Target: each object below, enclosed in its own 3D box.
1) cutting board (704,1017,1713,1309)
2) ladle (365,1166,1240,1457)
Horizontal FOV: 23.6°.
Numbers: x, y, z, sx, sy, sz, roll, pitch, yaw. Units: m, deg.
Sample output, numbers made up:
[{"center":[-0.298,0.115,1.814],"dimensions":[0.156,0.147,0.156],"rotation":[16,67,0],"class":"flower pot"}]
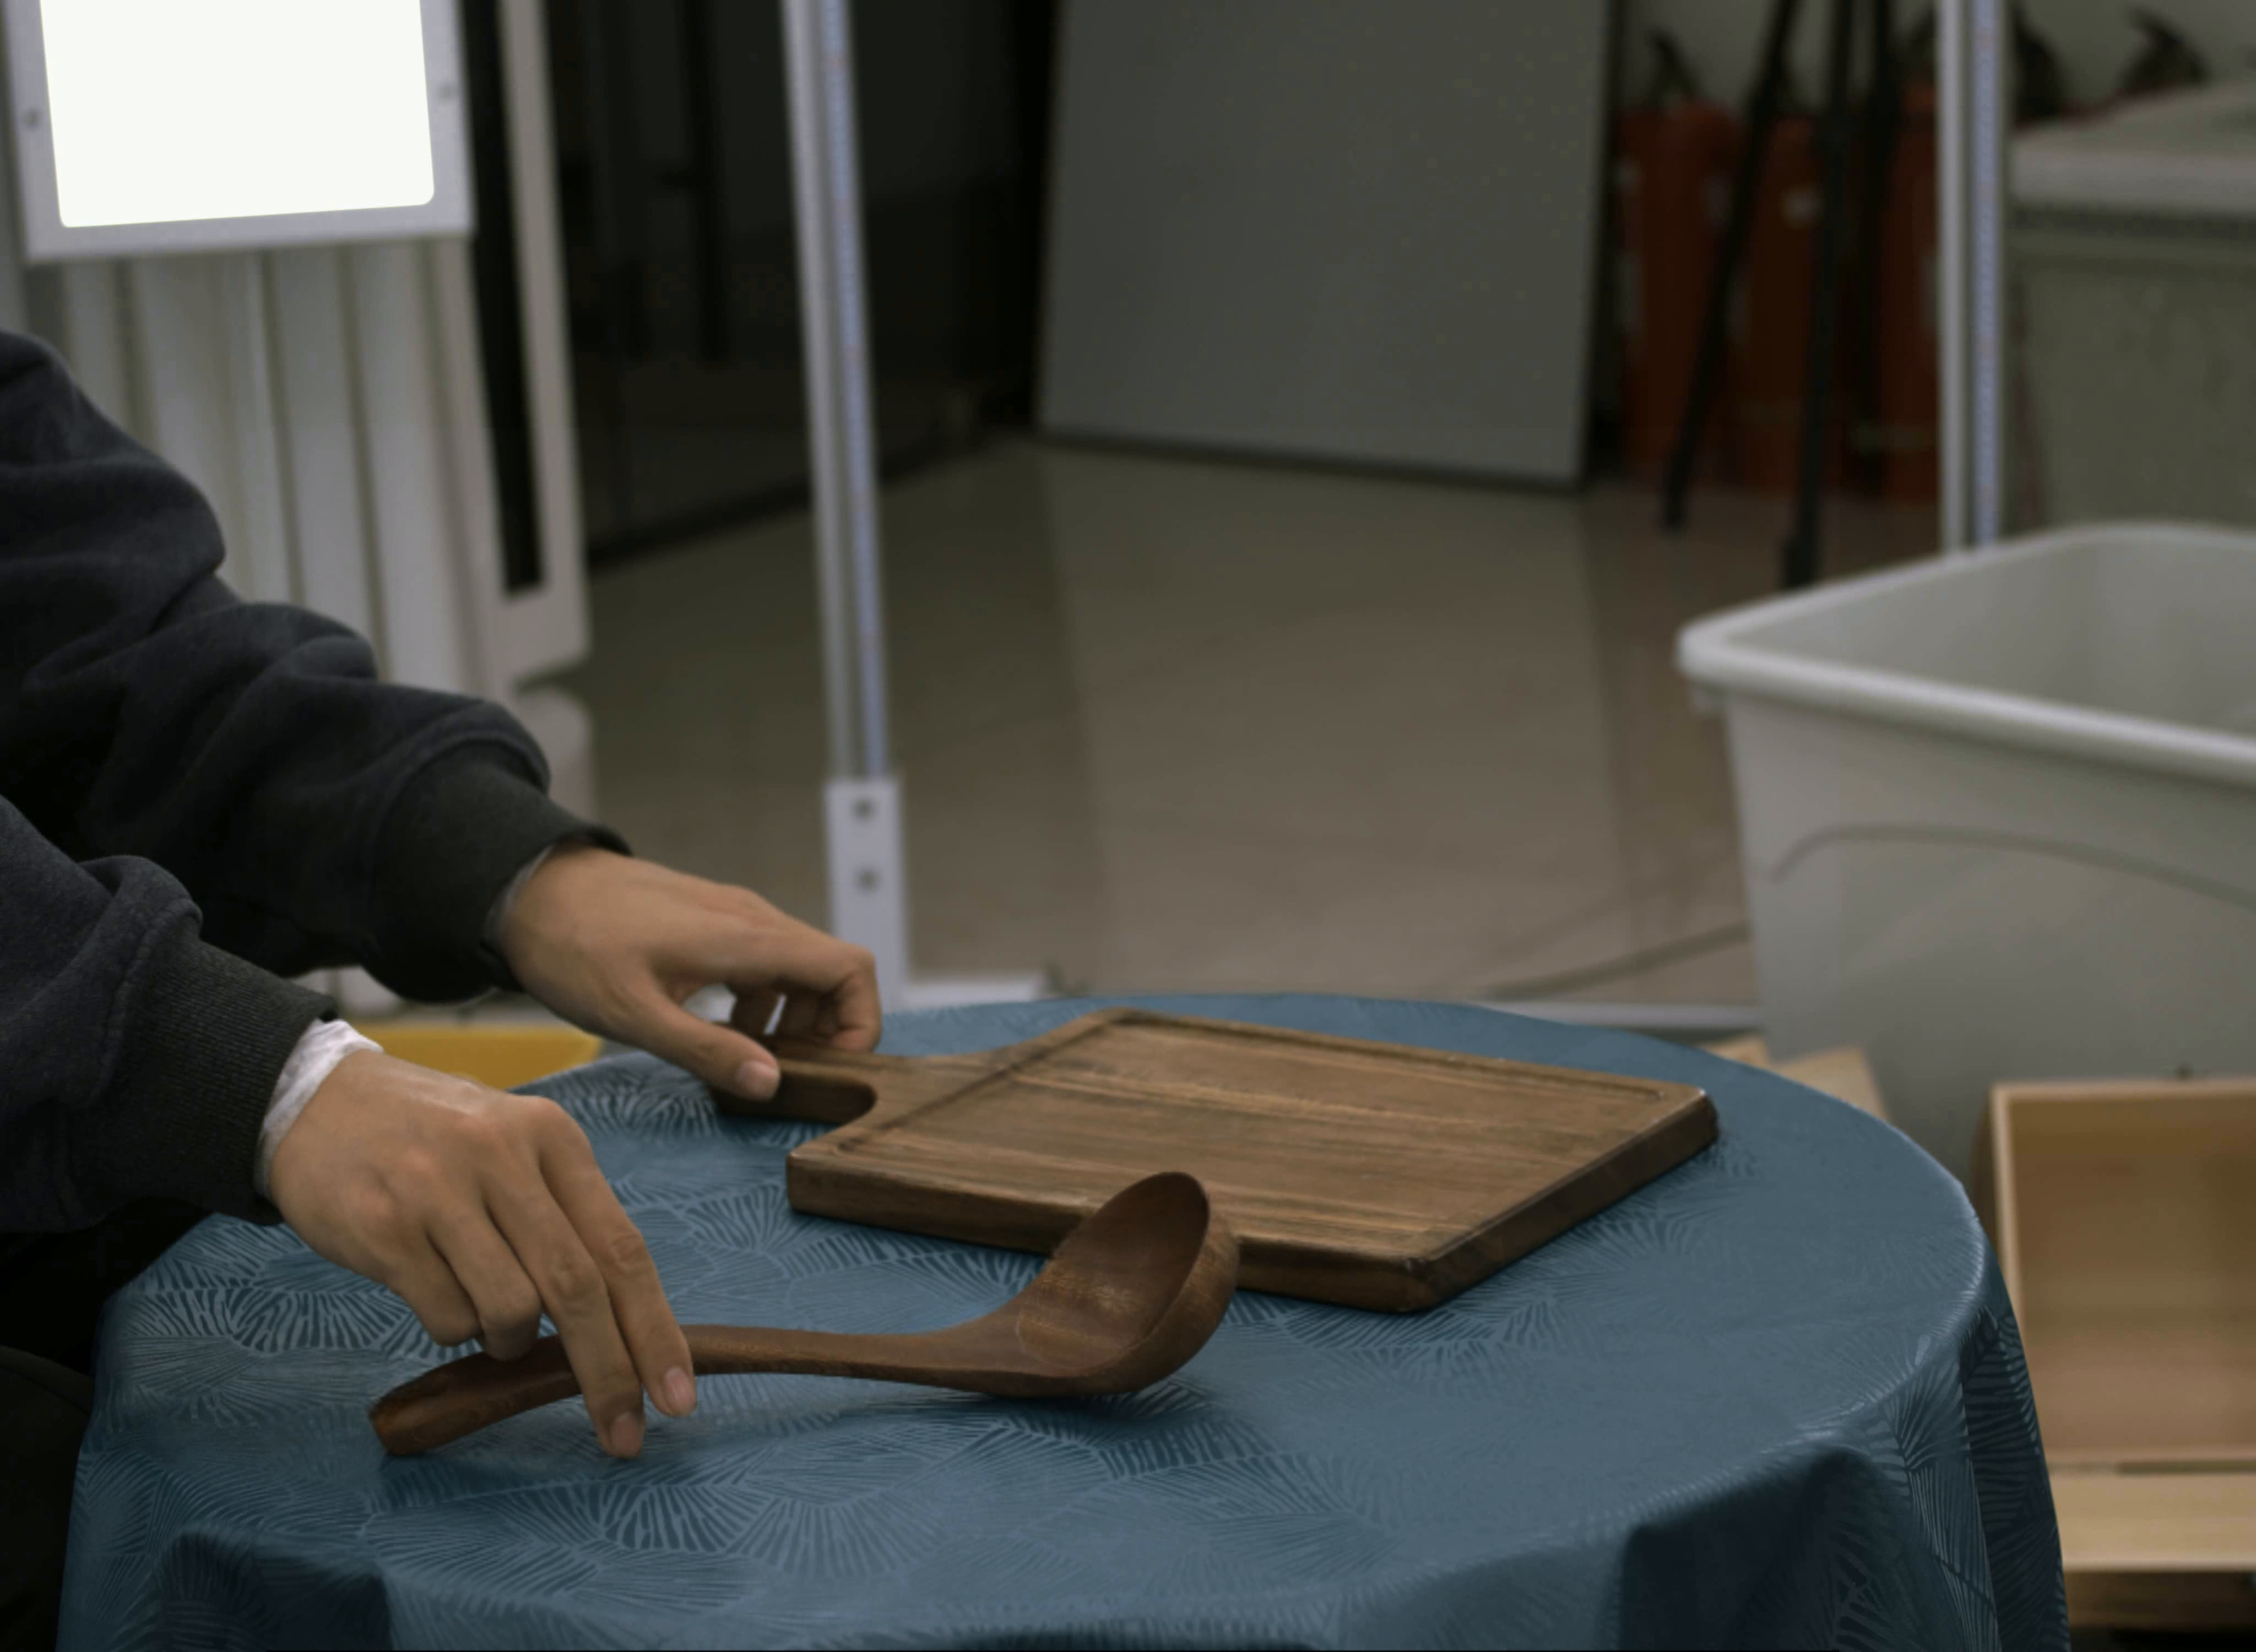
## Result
[{"center":[0.001,0.102,1.799],"dimensions":[0.354,0.023,0.197],"rotation":[6,16,35],"class":"cutting board"},{"center":[-0.095,0.142,1.572],"dimensions":[0.256,0.066,0.077],"rotation":[-4,23,-2],"class":"ladle"}]
